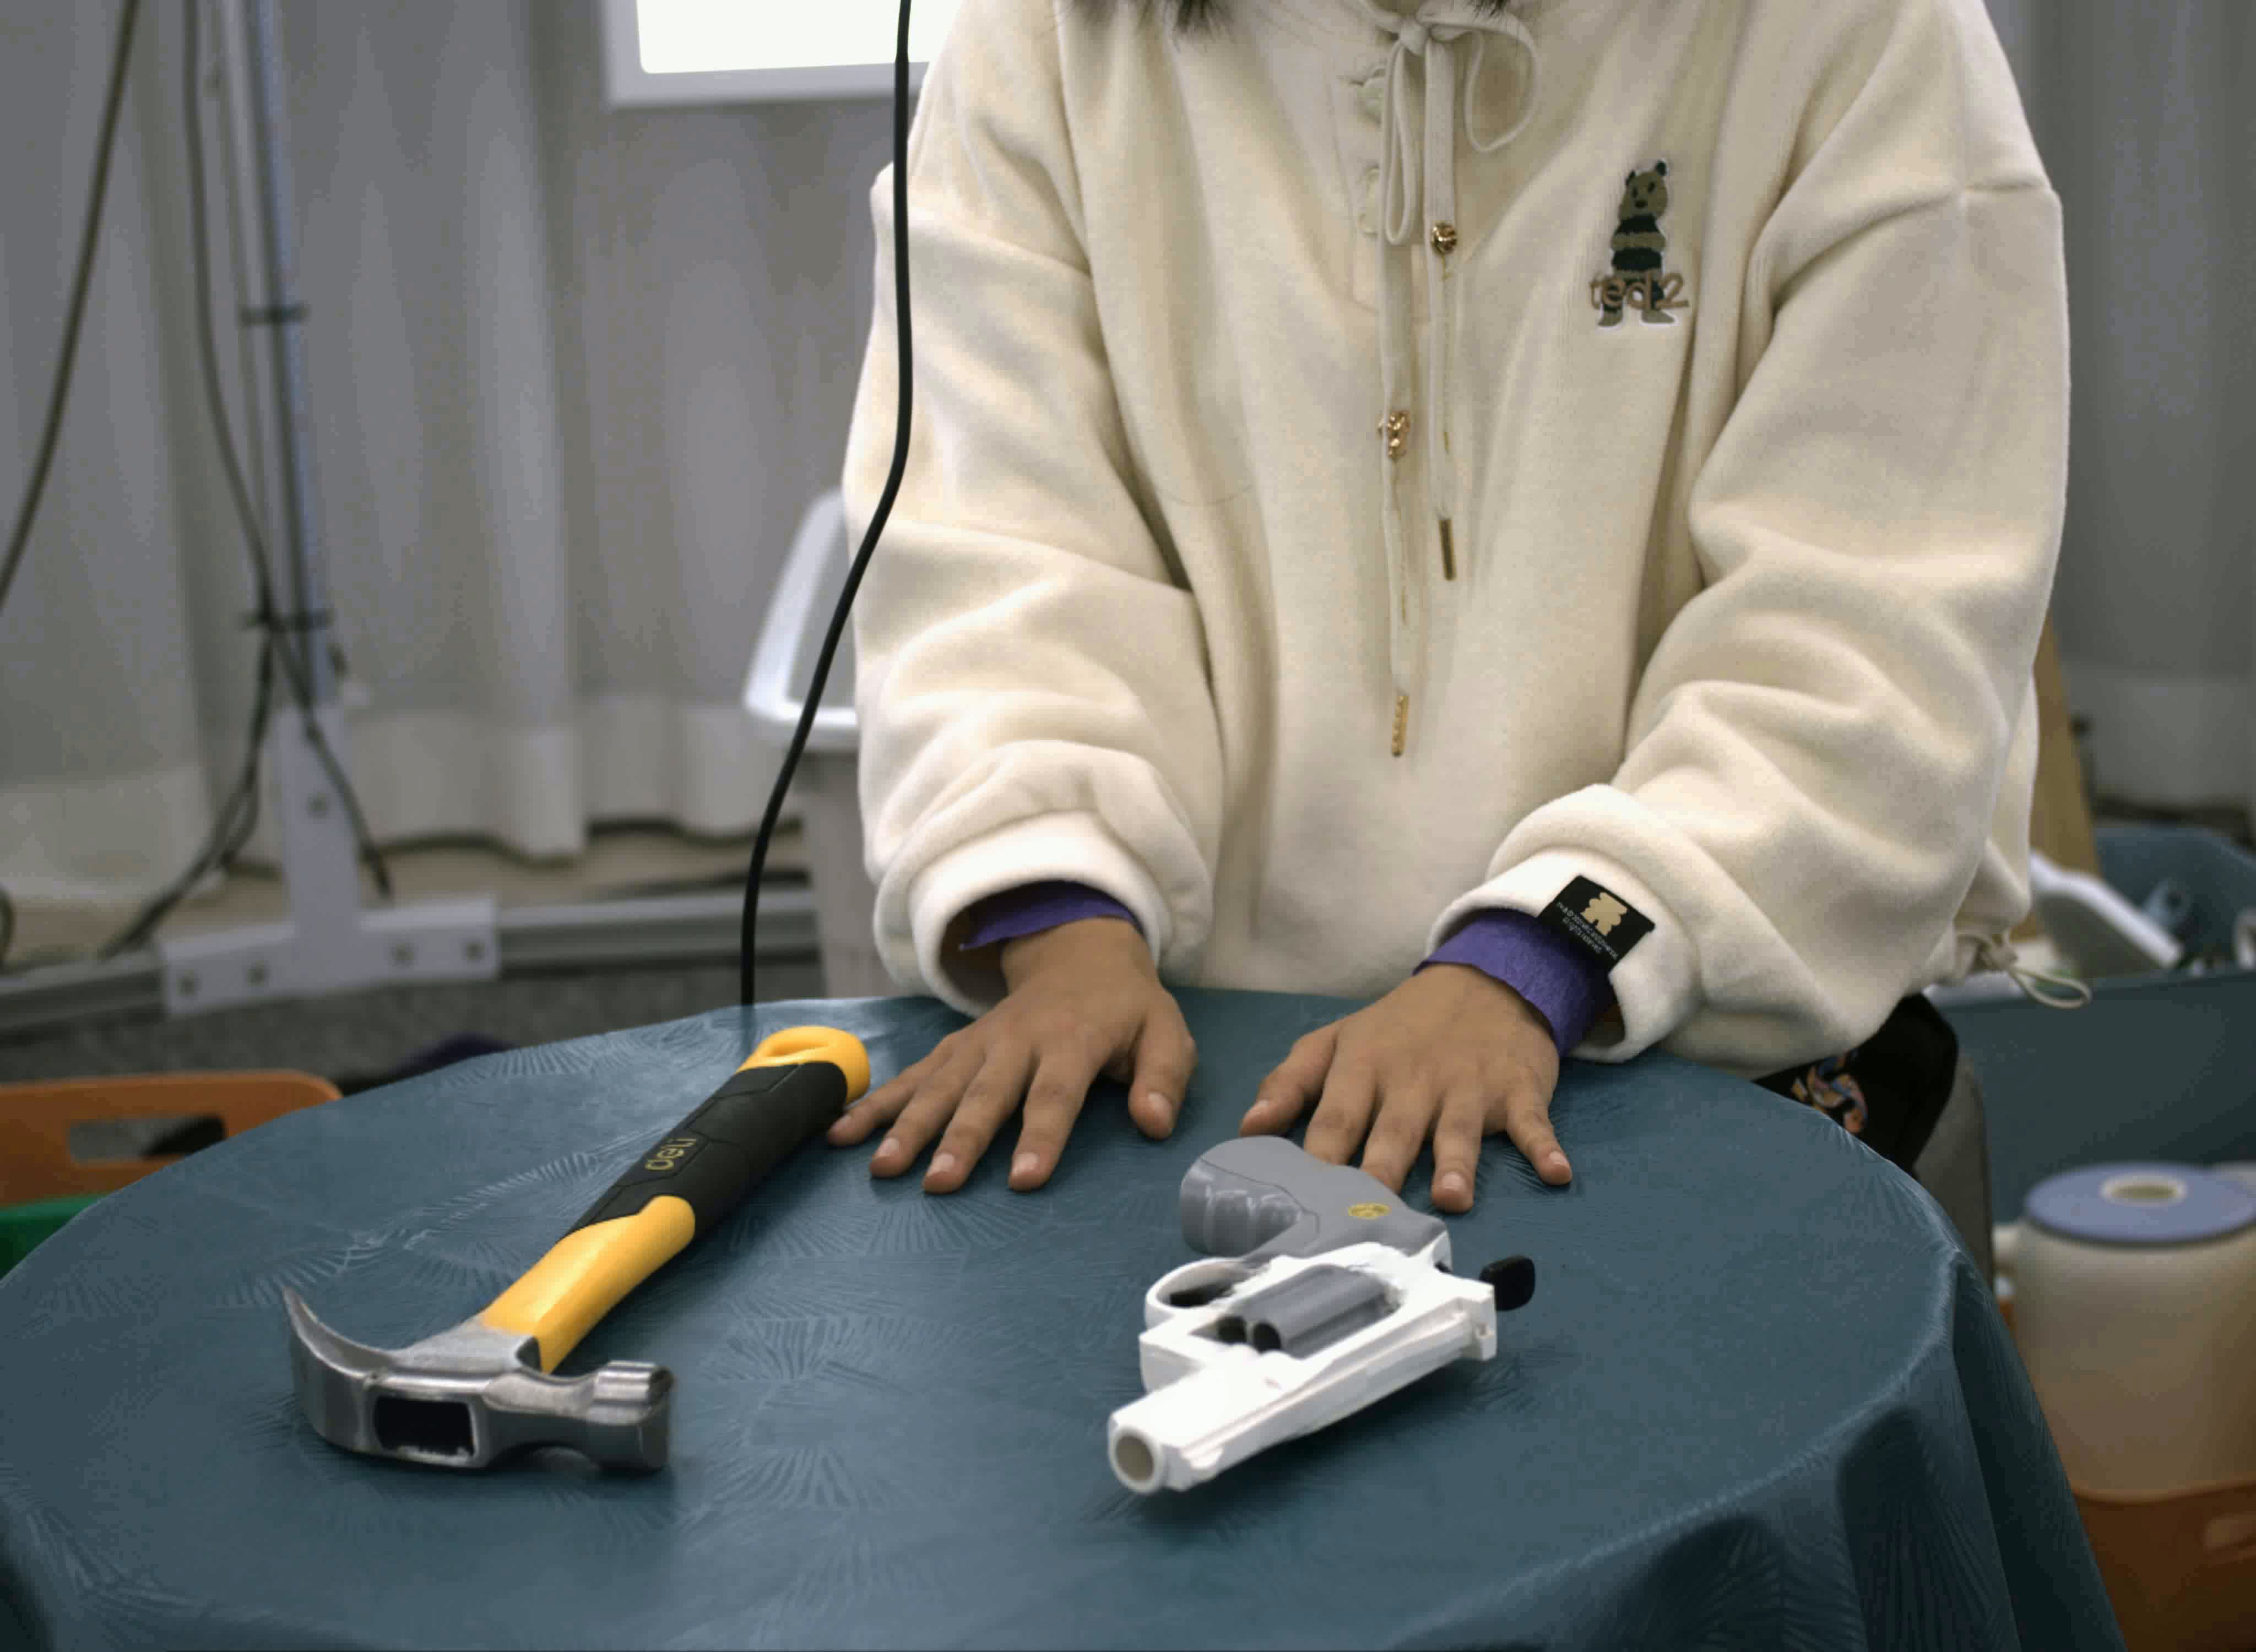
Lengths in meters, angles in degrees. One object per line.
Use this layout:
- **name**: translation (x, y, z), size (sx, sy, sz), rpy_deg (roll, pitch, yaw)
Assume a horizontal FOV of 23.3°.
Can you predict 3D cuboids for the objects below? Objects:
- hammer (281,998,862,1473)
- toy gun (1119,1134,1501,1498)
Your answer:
- **hammer**: translation (-0.149, 0.117, 1.660), size (0.131, 0.032, 0.340), rpy_deg (0, 17, 16)
- **toy gun**: translation (0.032, 0.137, 1.548), size (0.142, 0.038, 0.209), rpy_deg (9, 19, 37)
